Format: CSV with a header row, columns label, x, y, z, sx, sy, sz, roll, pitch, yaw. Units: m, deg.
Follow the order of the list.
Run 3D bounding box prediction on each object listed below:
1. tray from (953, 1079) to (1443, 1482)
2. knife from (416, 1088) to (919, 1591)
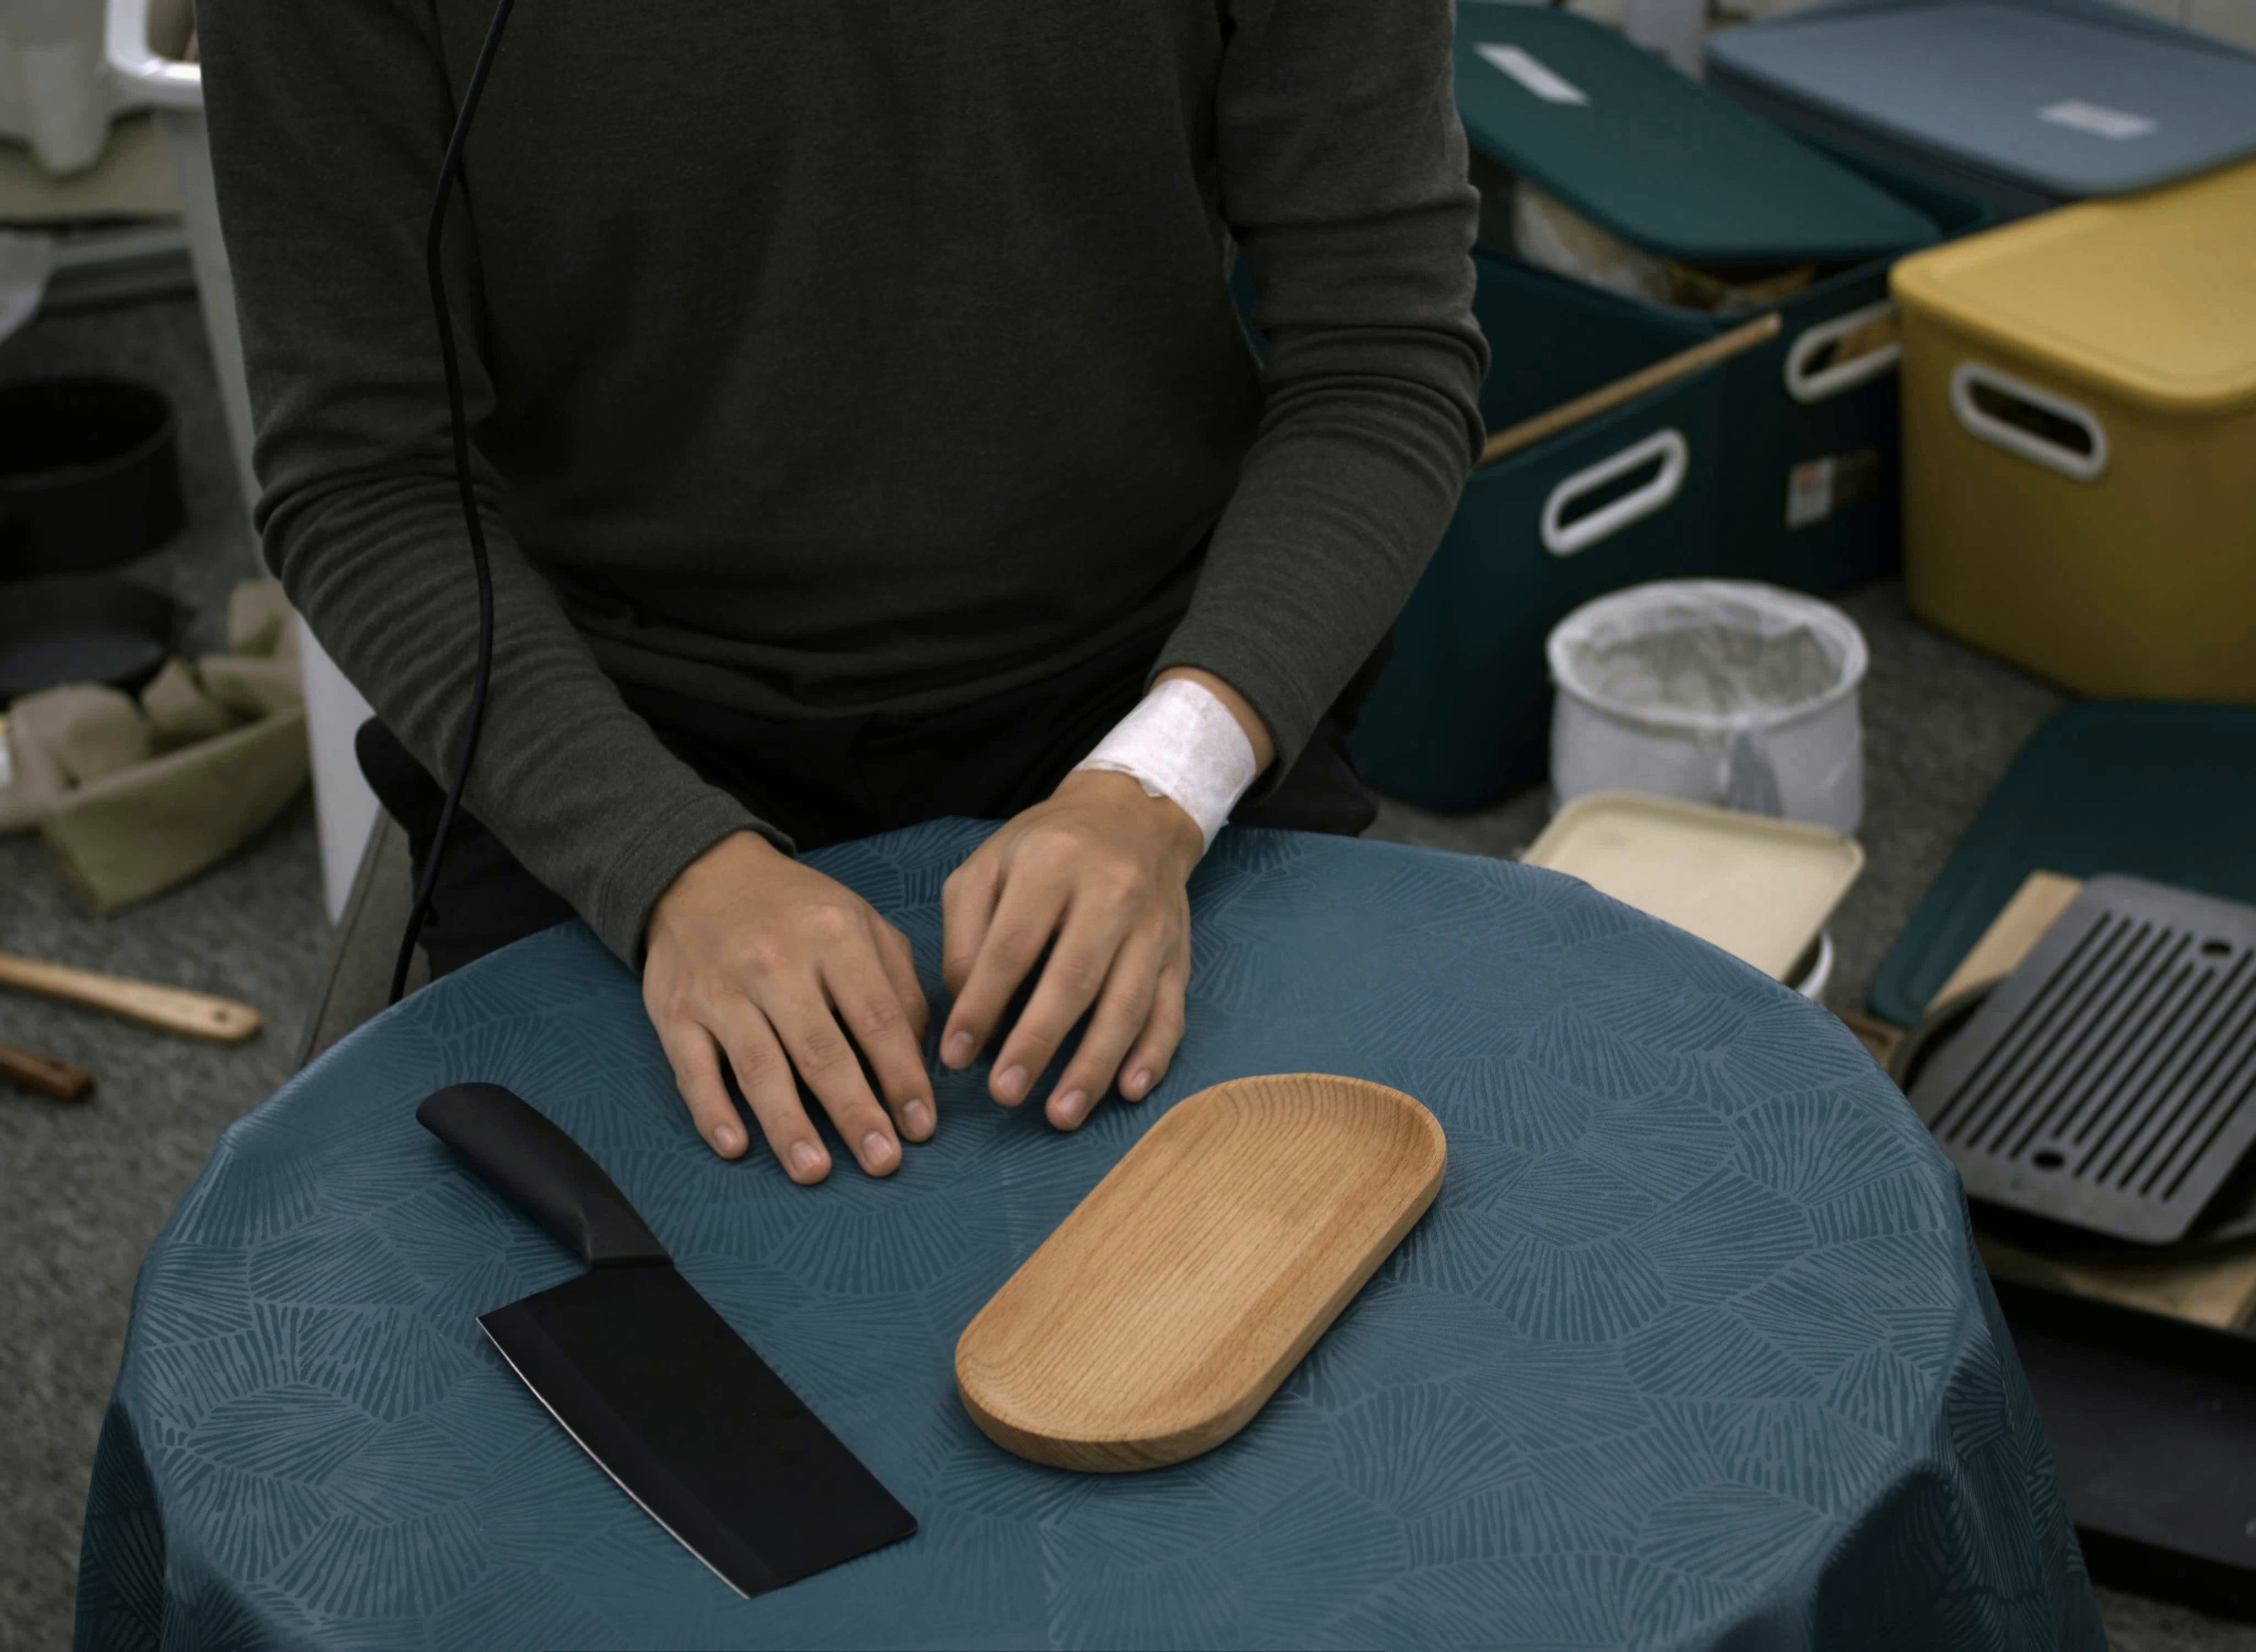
label,x,y,z,sx,sy,sz,roll,pitch,yaw
tray,0.025,0.143,1.800,0.101,0.020,0.235,9,31,24
knife,-0.162,0.160,1.789,0.081,0.020,0.304,-16,32,-22
